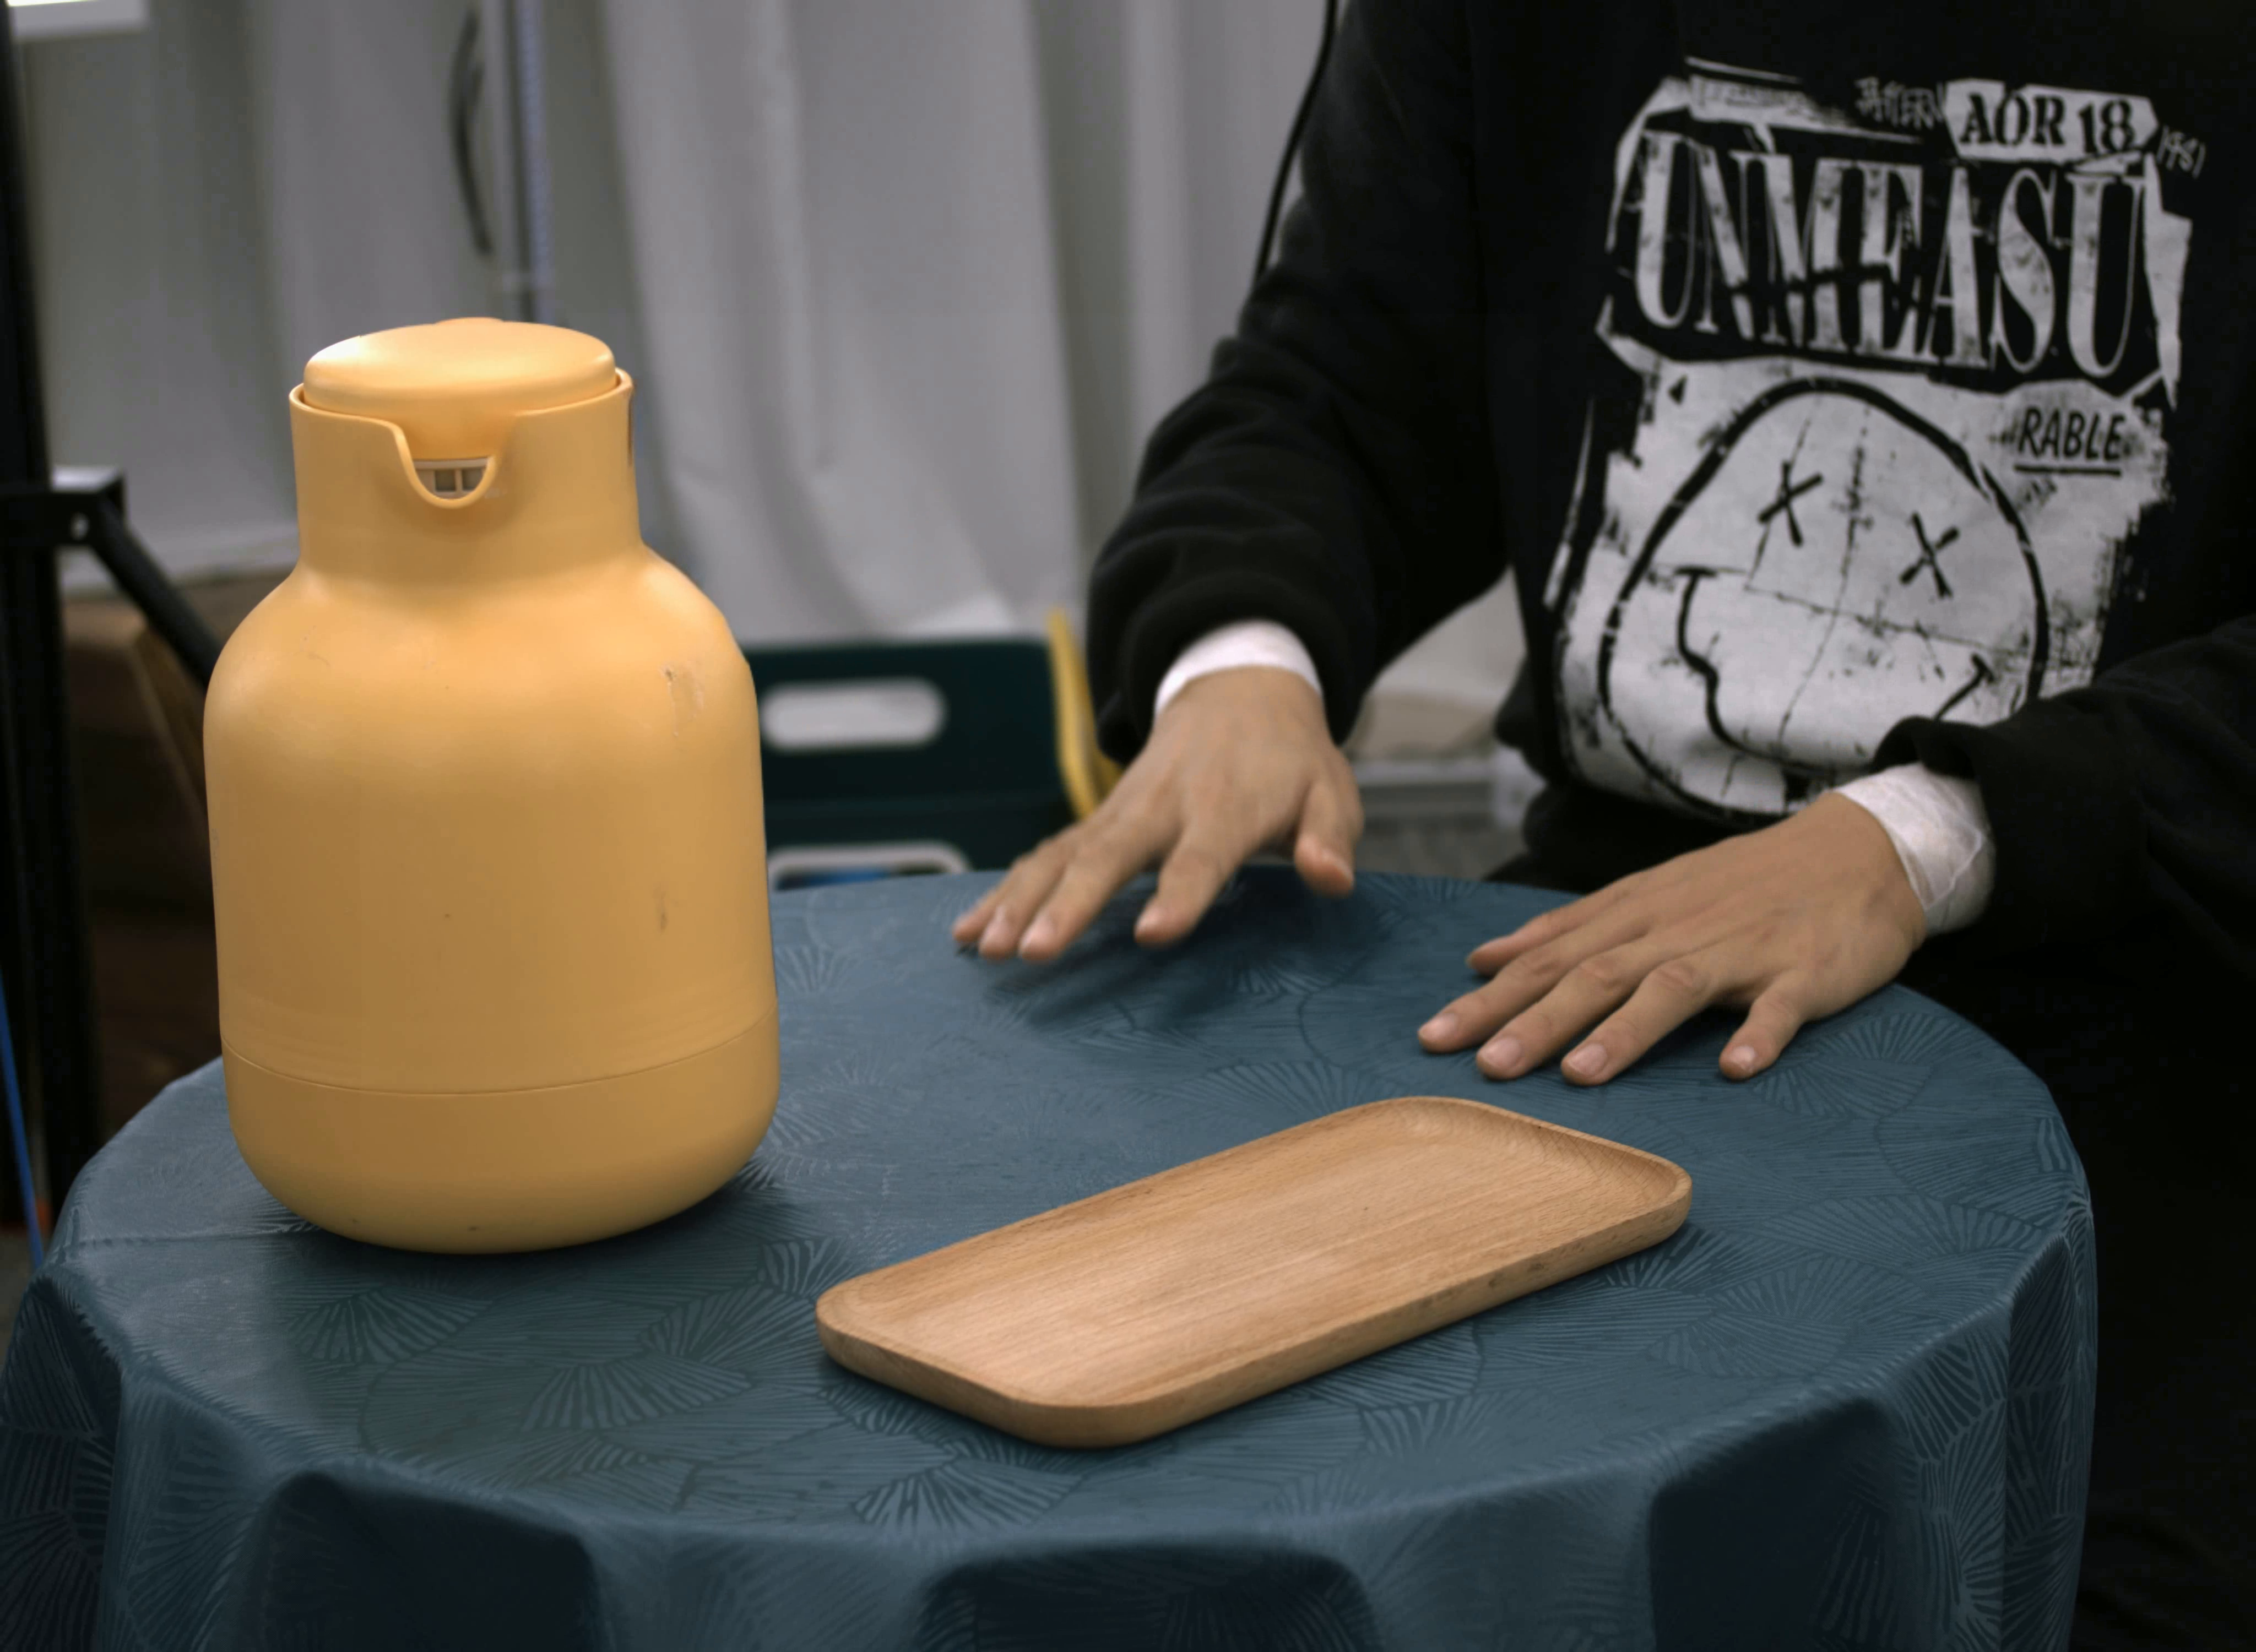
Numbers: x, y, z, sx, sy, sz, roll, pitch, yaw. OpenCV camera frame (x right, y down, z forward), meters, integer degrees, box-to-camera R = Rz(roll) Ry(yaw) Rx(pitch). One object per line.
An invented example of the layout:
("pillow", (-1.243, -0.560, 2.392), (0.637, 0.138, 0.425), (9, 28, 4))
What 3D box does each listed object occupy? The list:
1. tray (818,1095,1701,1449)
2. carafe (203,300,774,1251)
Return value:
("tray", (0.040, 0.121, 1.470), (0.245, 0.023, 0.133), (-14, 22, -38))
("carafe", (-0.186, -0.023, 1.569), (0.162, 0.260, 0.203), (0, 17, -1))
